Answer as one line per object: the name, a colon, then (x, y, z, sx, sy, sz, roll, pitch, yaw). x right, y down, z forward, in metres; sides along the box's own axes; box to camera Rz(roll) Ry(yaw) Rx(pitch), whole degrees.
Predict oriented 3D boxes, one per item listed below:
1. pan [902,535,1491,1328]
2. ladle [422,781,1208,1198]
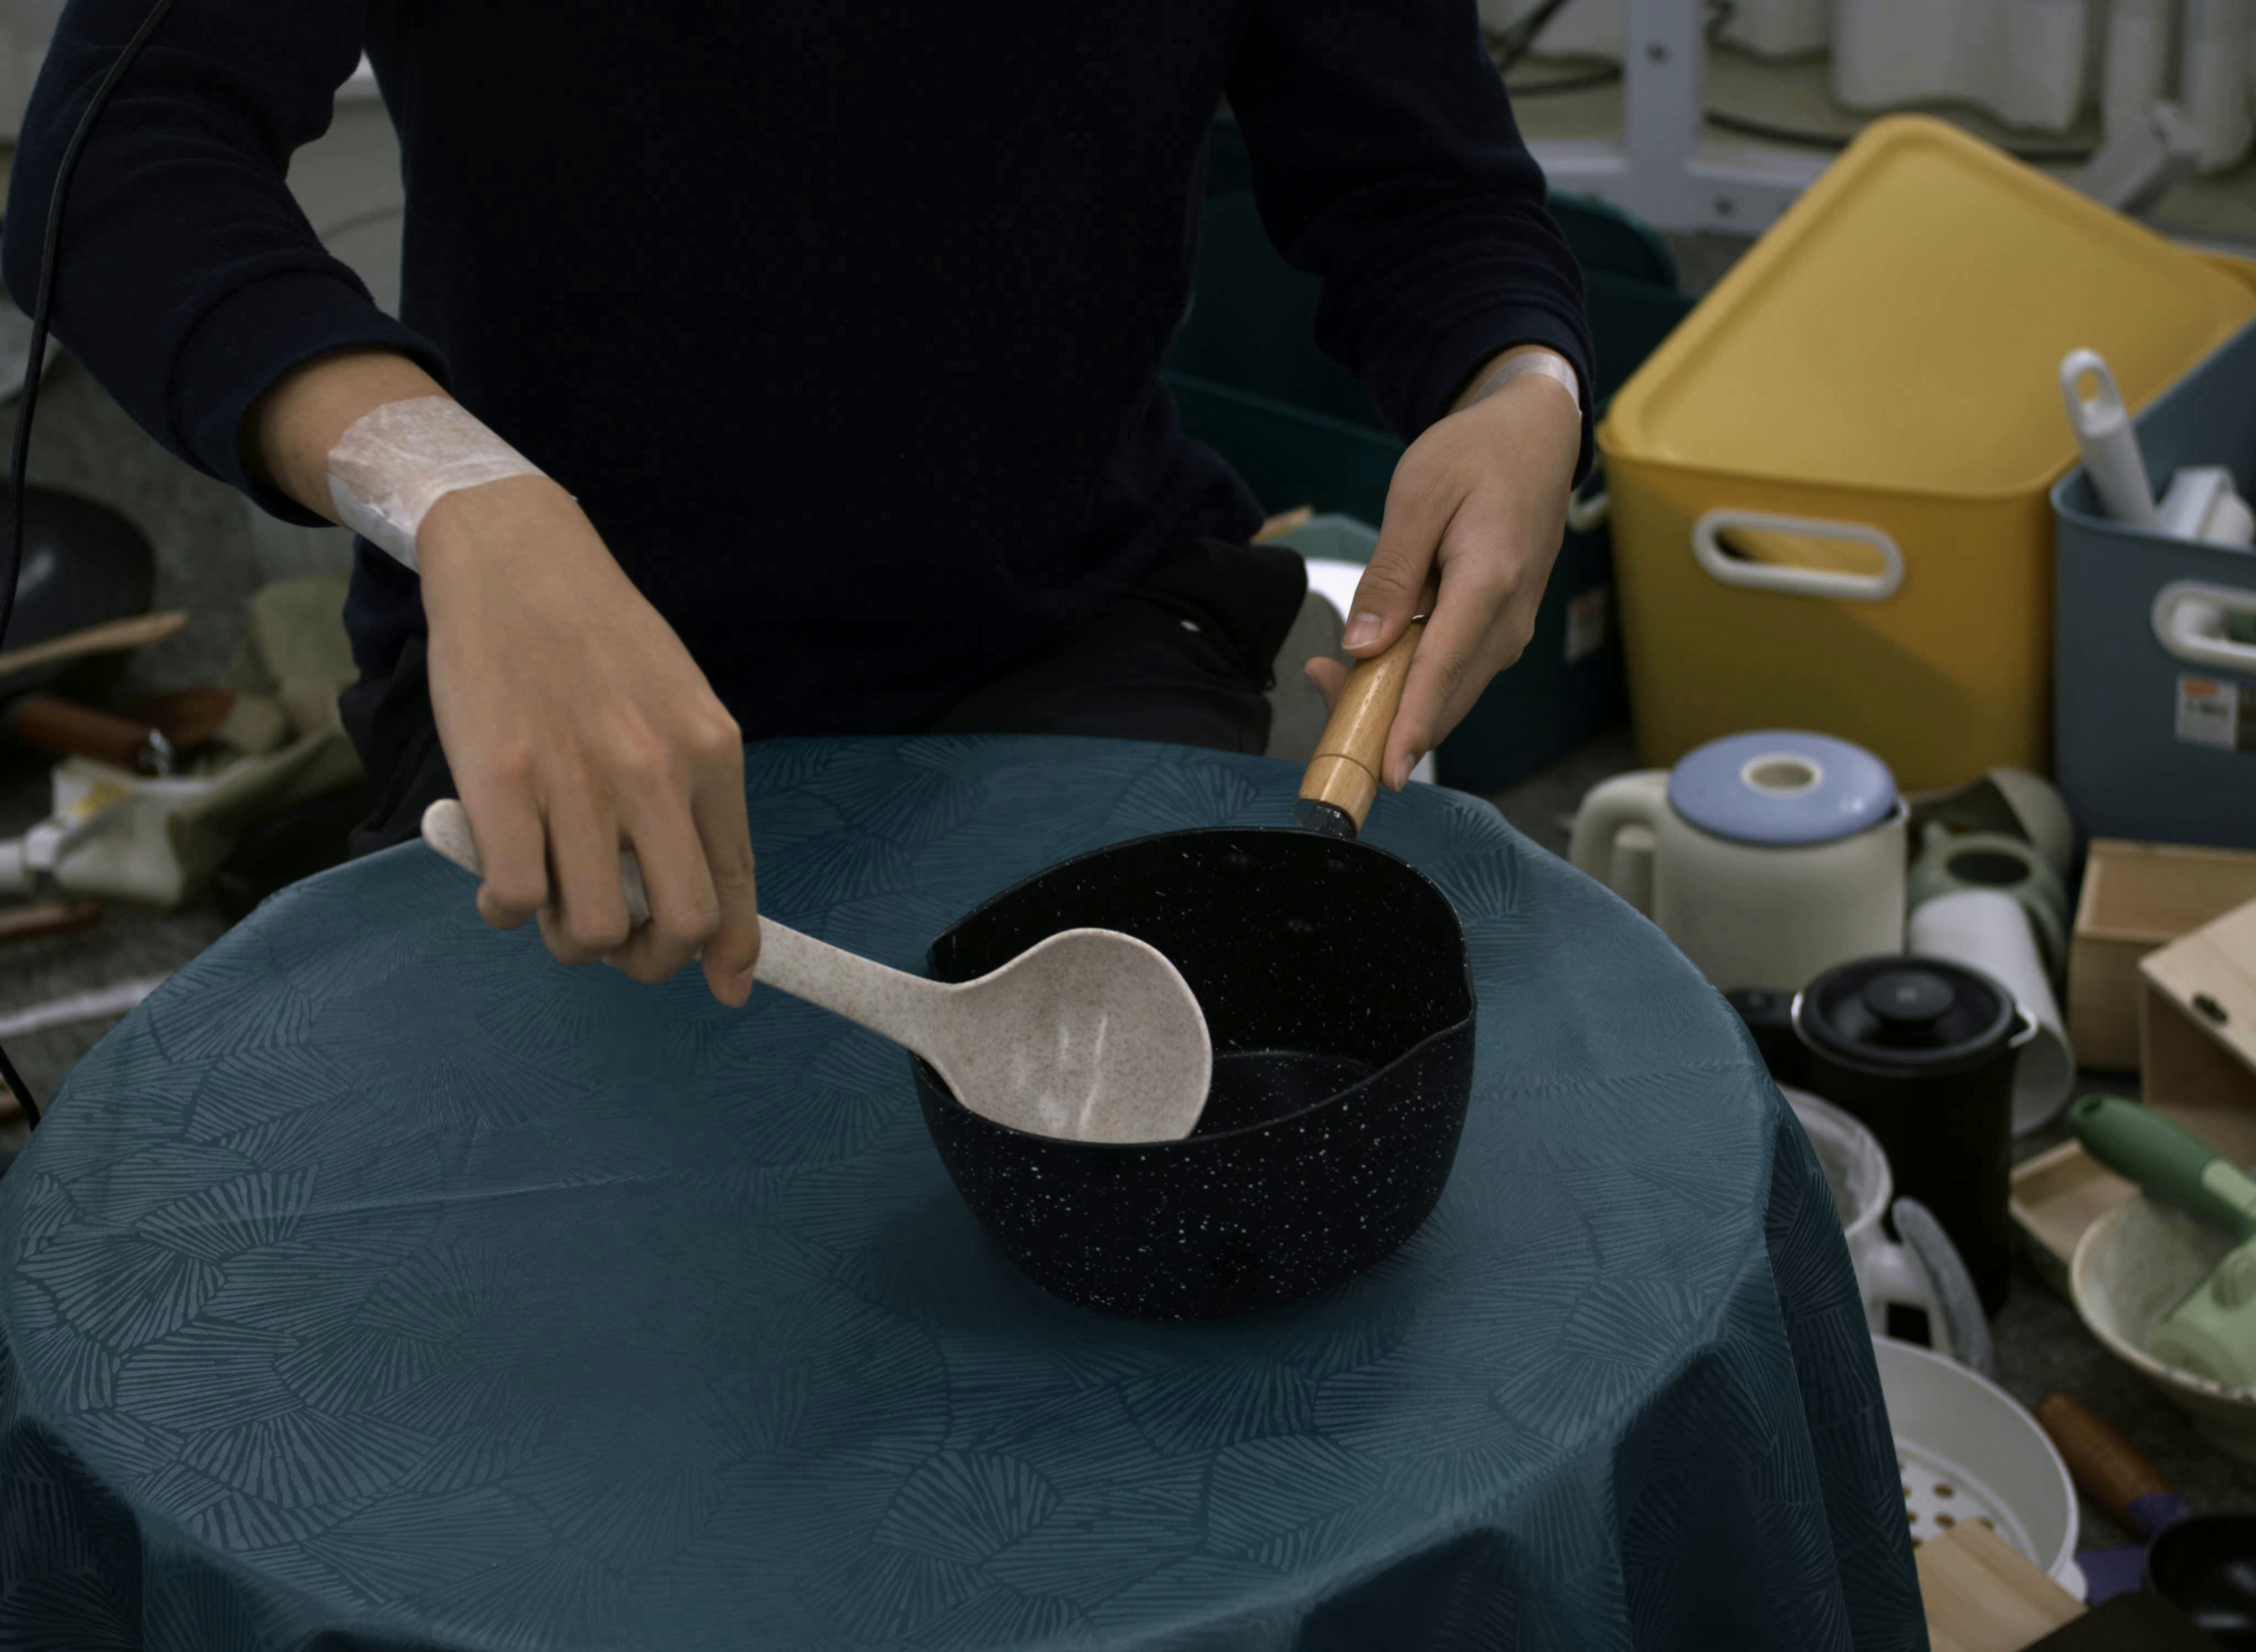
pan: (0.052, 0.032, 1.883, 0.206, 0.107, 0.349, 3, 34, 23)
ladle: (-0.090, 0.040, 1.708, 0.274, 0.090, 0.069, 26, -13, -41)
